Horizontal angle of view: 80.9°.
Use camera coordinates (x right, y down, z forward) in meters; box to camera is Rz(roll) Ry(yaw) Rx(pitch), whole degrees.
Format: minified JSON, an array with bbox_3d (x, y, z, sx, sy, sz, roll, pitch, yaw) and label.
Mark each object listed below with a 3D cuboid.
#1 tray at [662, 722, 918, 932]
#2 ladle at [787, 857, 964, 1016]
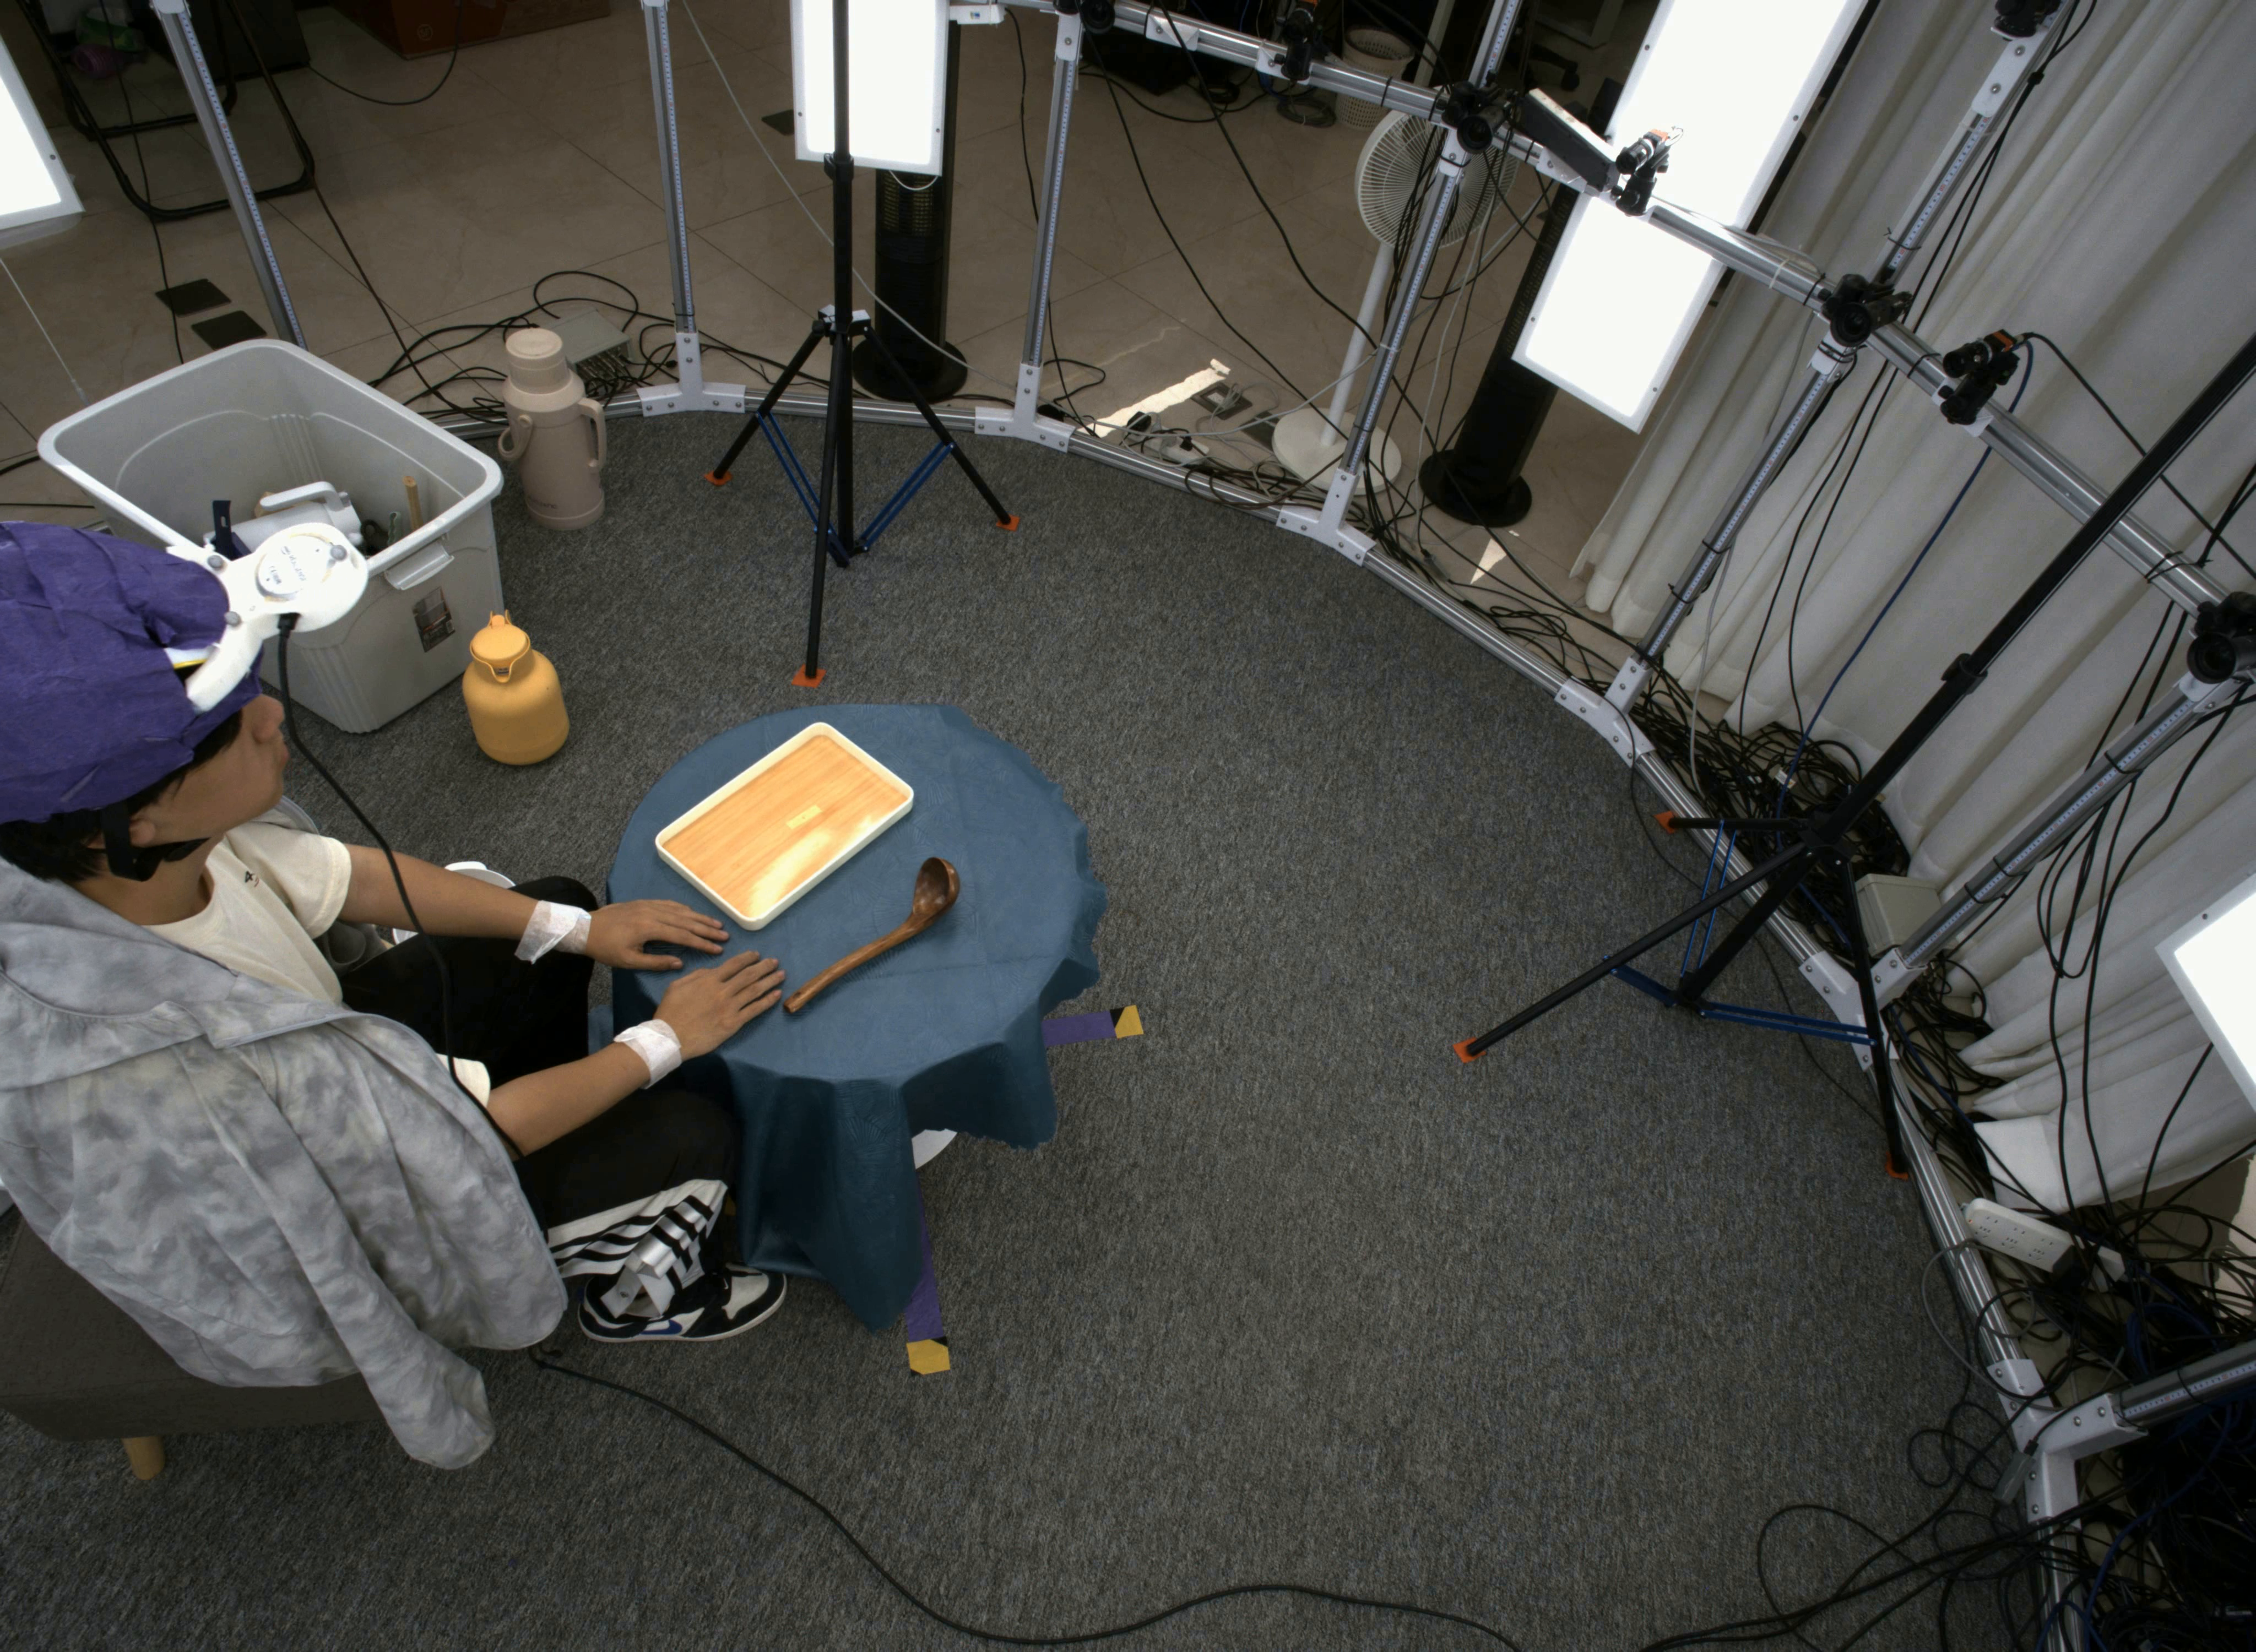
[{"bbox_3d":[-0.441,-0.007,1.709,0.188,0.028,0.300,37,54,14],"label":"tray"},{"bbox_3d":[-0.316,0.129,1.612,0.275,0.079,0.079,-32,24,-30],"label":"ladle"}]
